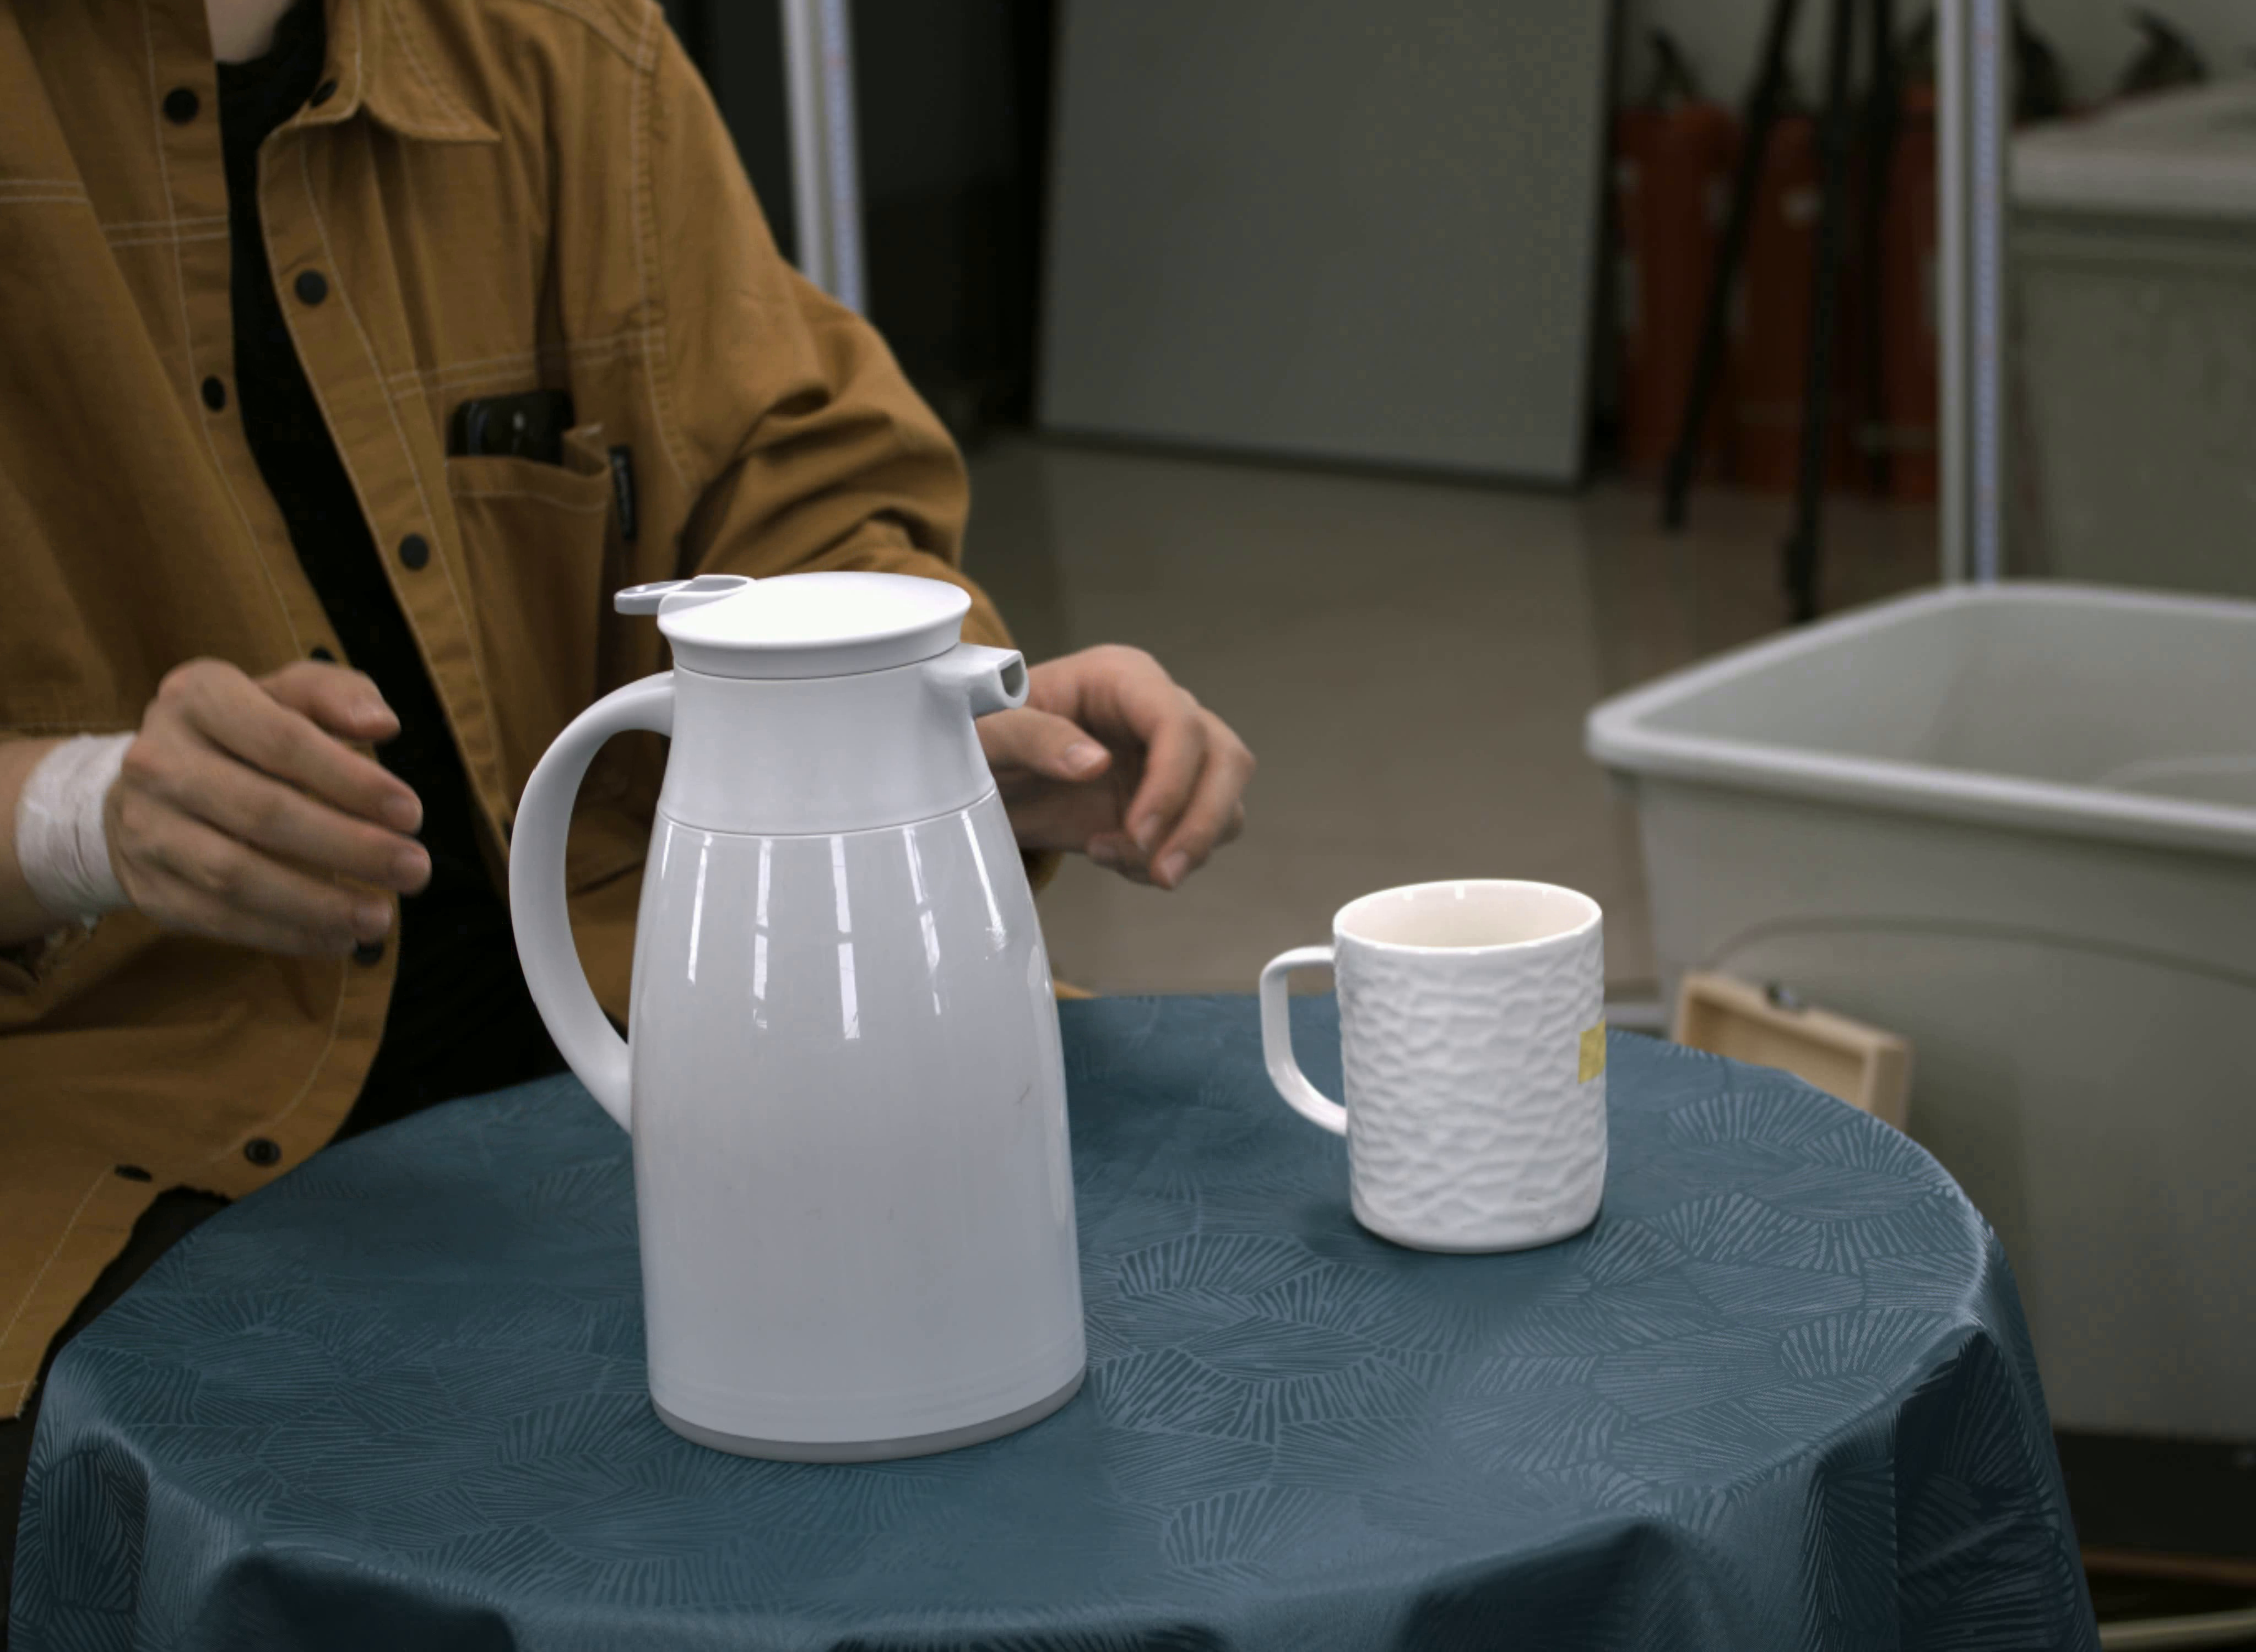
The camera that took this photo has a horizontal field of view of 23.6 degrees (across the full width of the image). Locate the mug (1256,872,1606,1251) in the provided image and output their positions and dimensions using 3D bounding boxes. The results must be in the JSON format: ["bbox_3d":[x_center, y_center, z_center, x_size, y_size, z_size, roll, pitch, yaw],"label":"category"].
[{"bbox_3d":[0.095,0.074,1.720,0.118,0.103,0.083,4,15,29],"label":"mug"}]

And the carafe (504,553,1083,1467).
[{"bbox_3d":[-0.103,0.047,1.586,0.167,0.251,0.131,1,15,21],"label":"carafe"}]
